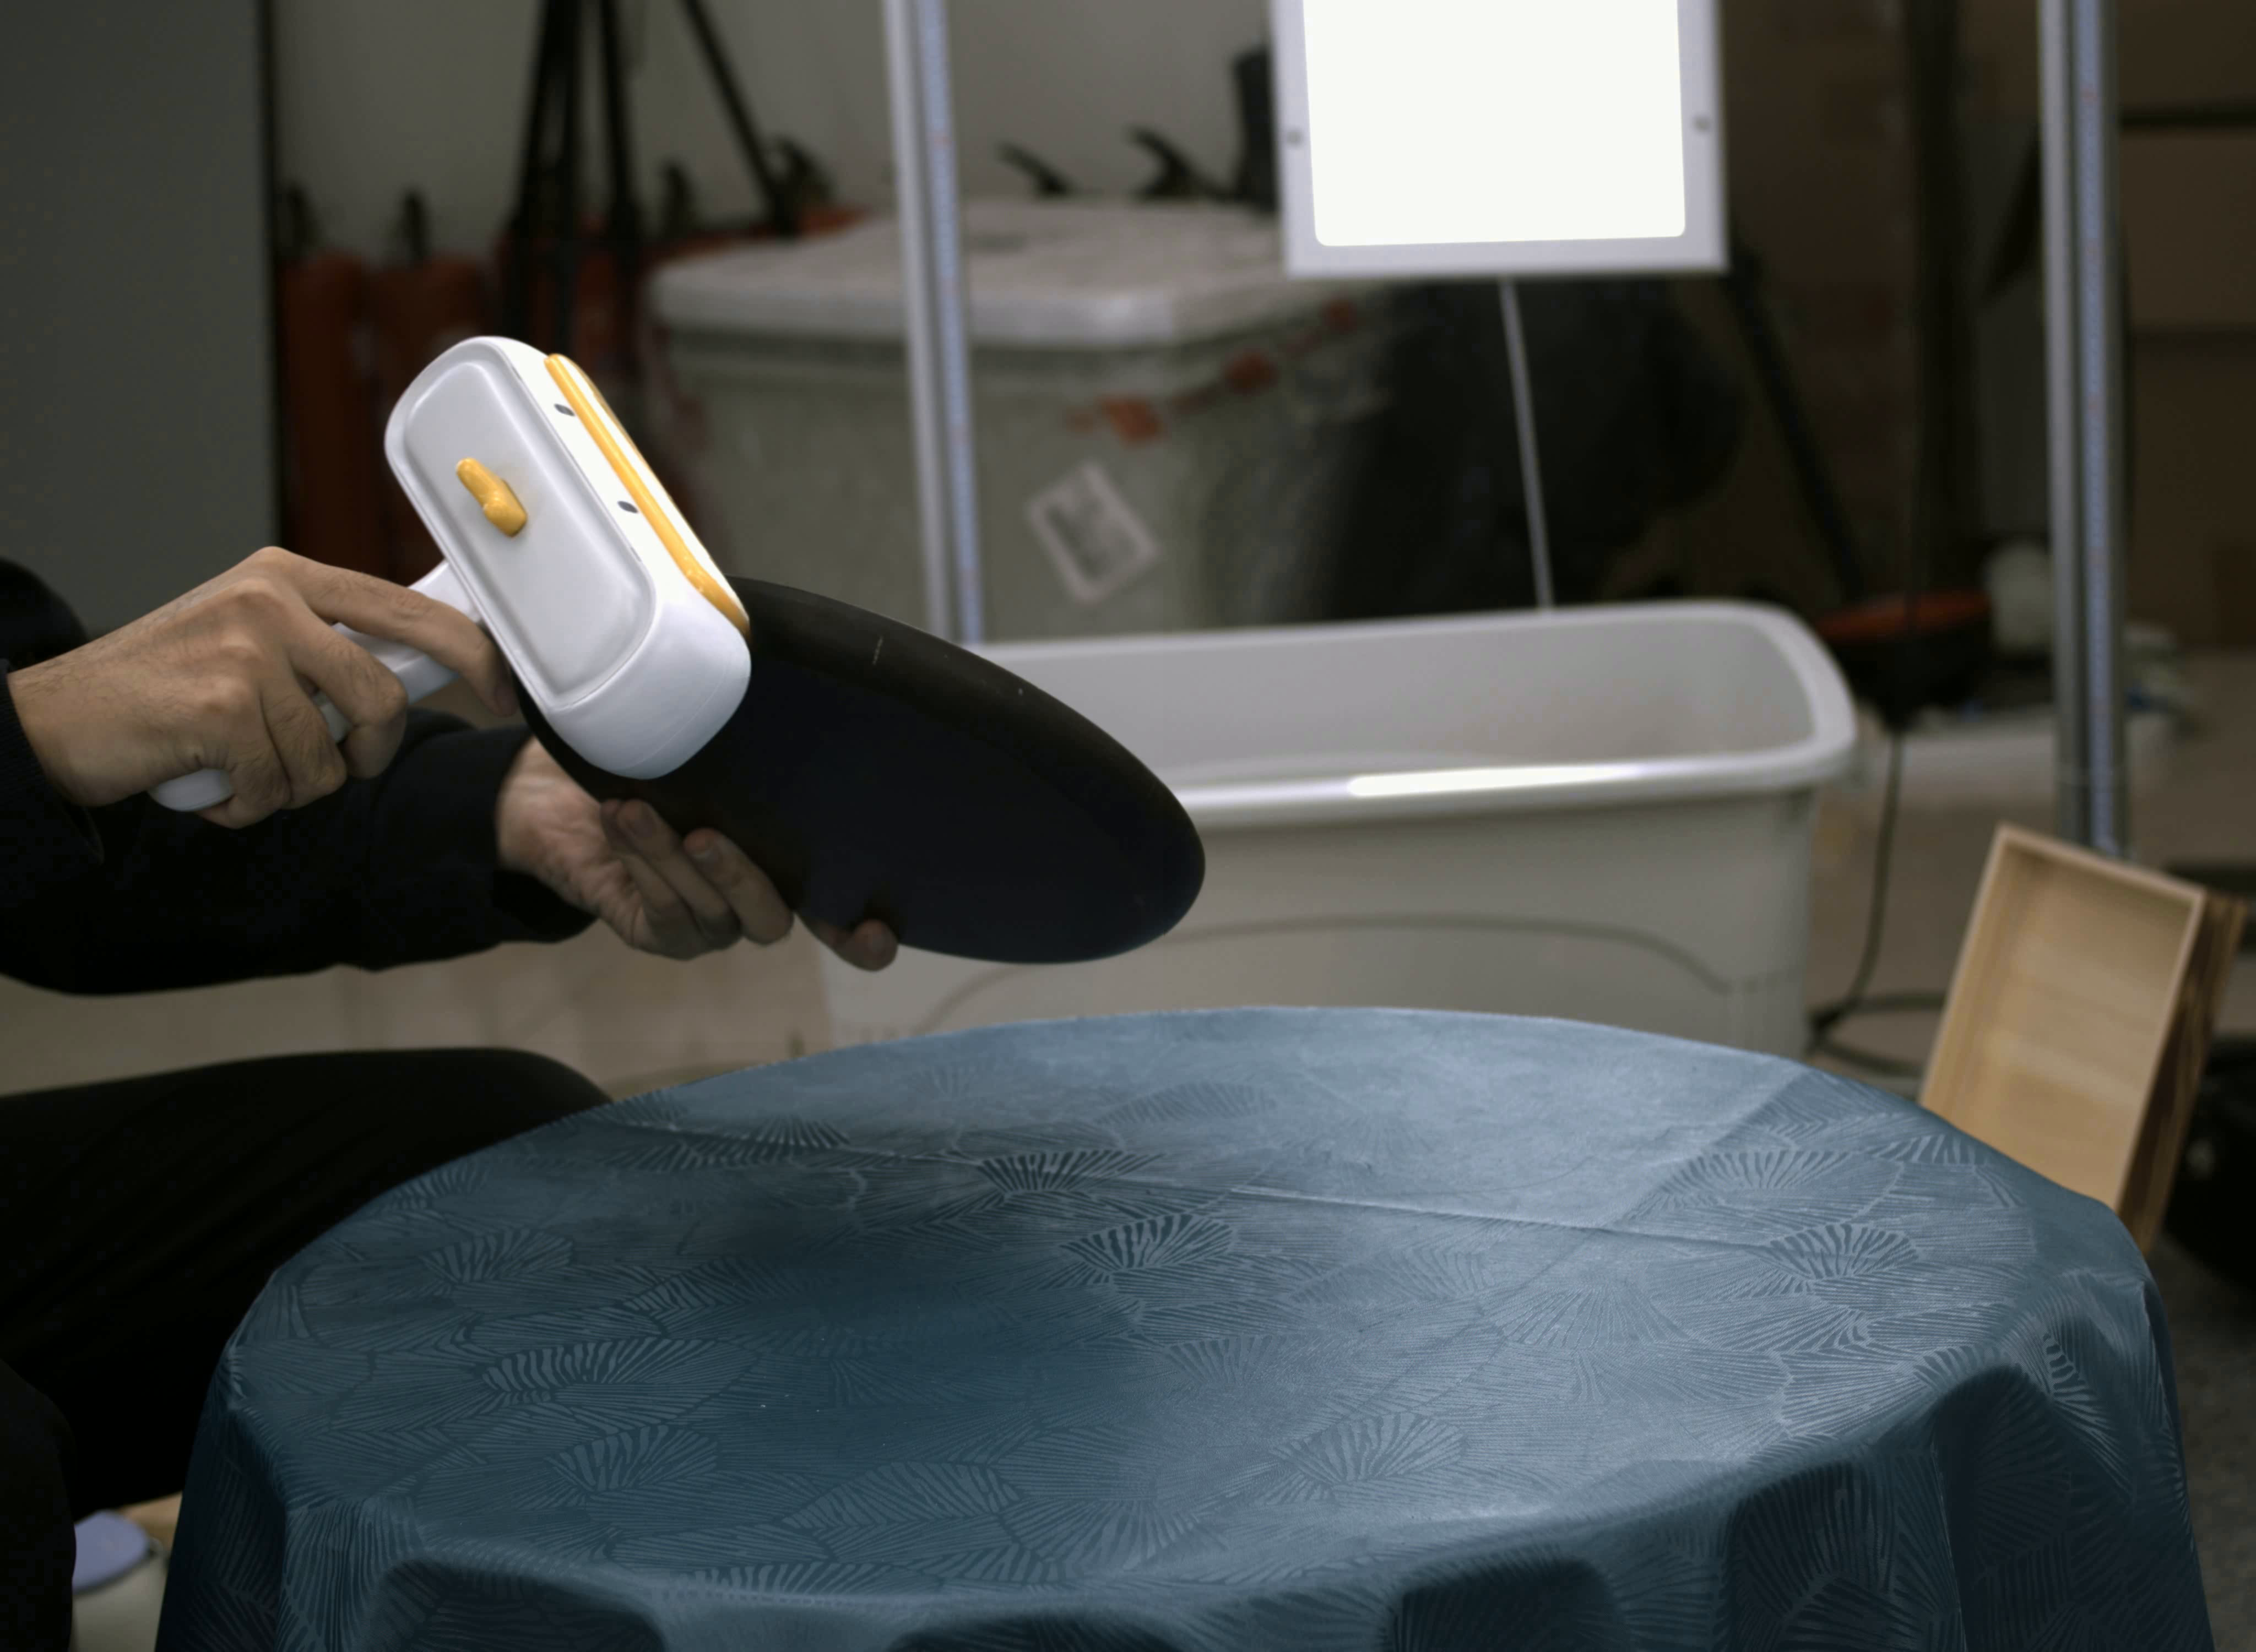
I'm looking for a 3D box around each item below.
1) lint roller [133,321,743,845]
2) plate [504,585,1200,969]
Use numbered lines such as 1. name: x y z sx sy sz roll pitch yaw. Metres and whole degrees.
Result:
1. lint roller: -0.235 -0.059 1.792 0.193 0.073 0.195 -42 51 2
2. plate: -0.096 -0.014 1.888 0.255 0.029 0.256 17 -22 5
